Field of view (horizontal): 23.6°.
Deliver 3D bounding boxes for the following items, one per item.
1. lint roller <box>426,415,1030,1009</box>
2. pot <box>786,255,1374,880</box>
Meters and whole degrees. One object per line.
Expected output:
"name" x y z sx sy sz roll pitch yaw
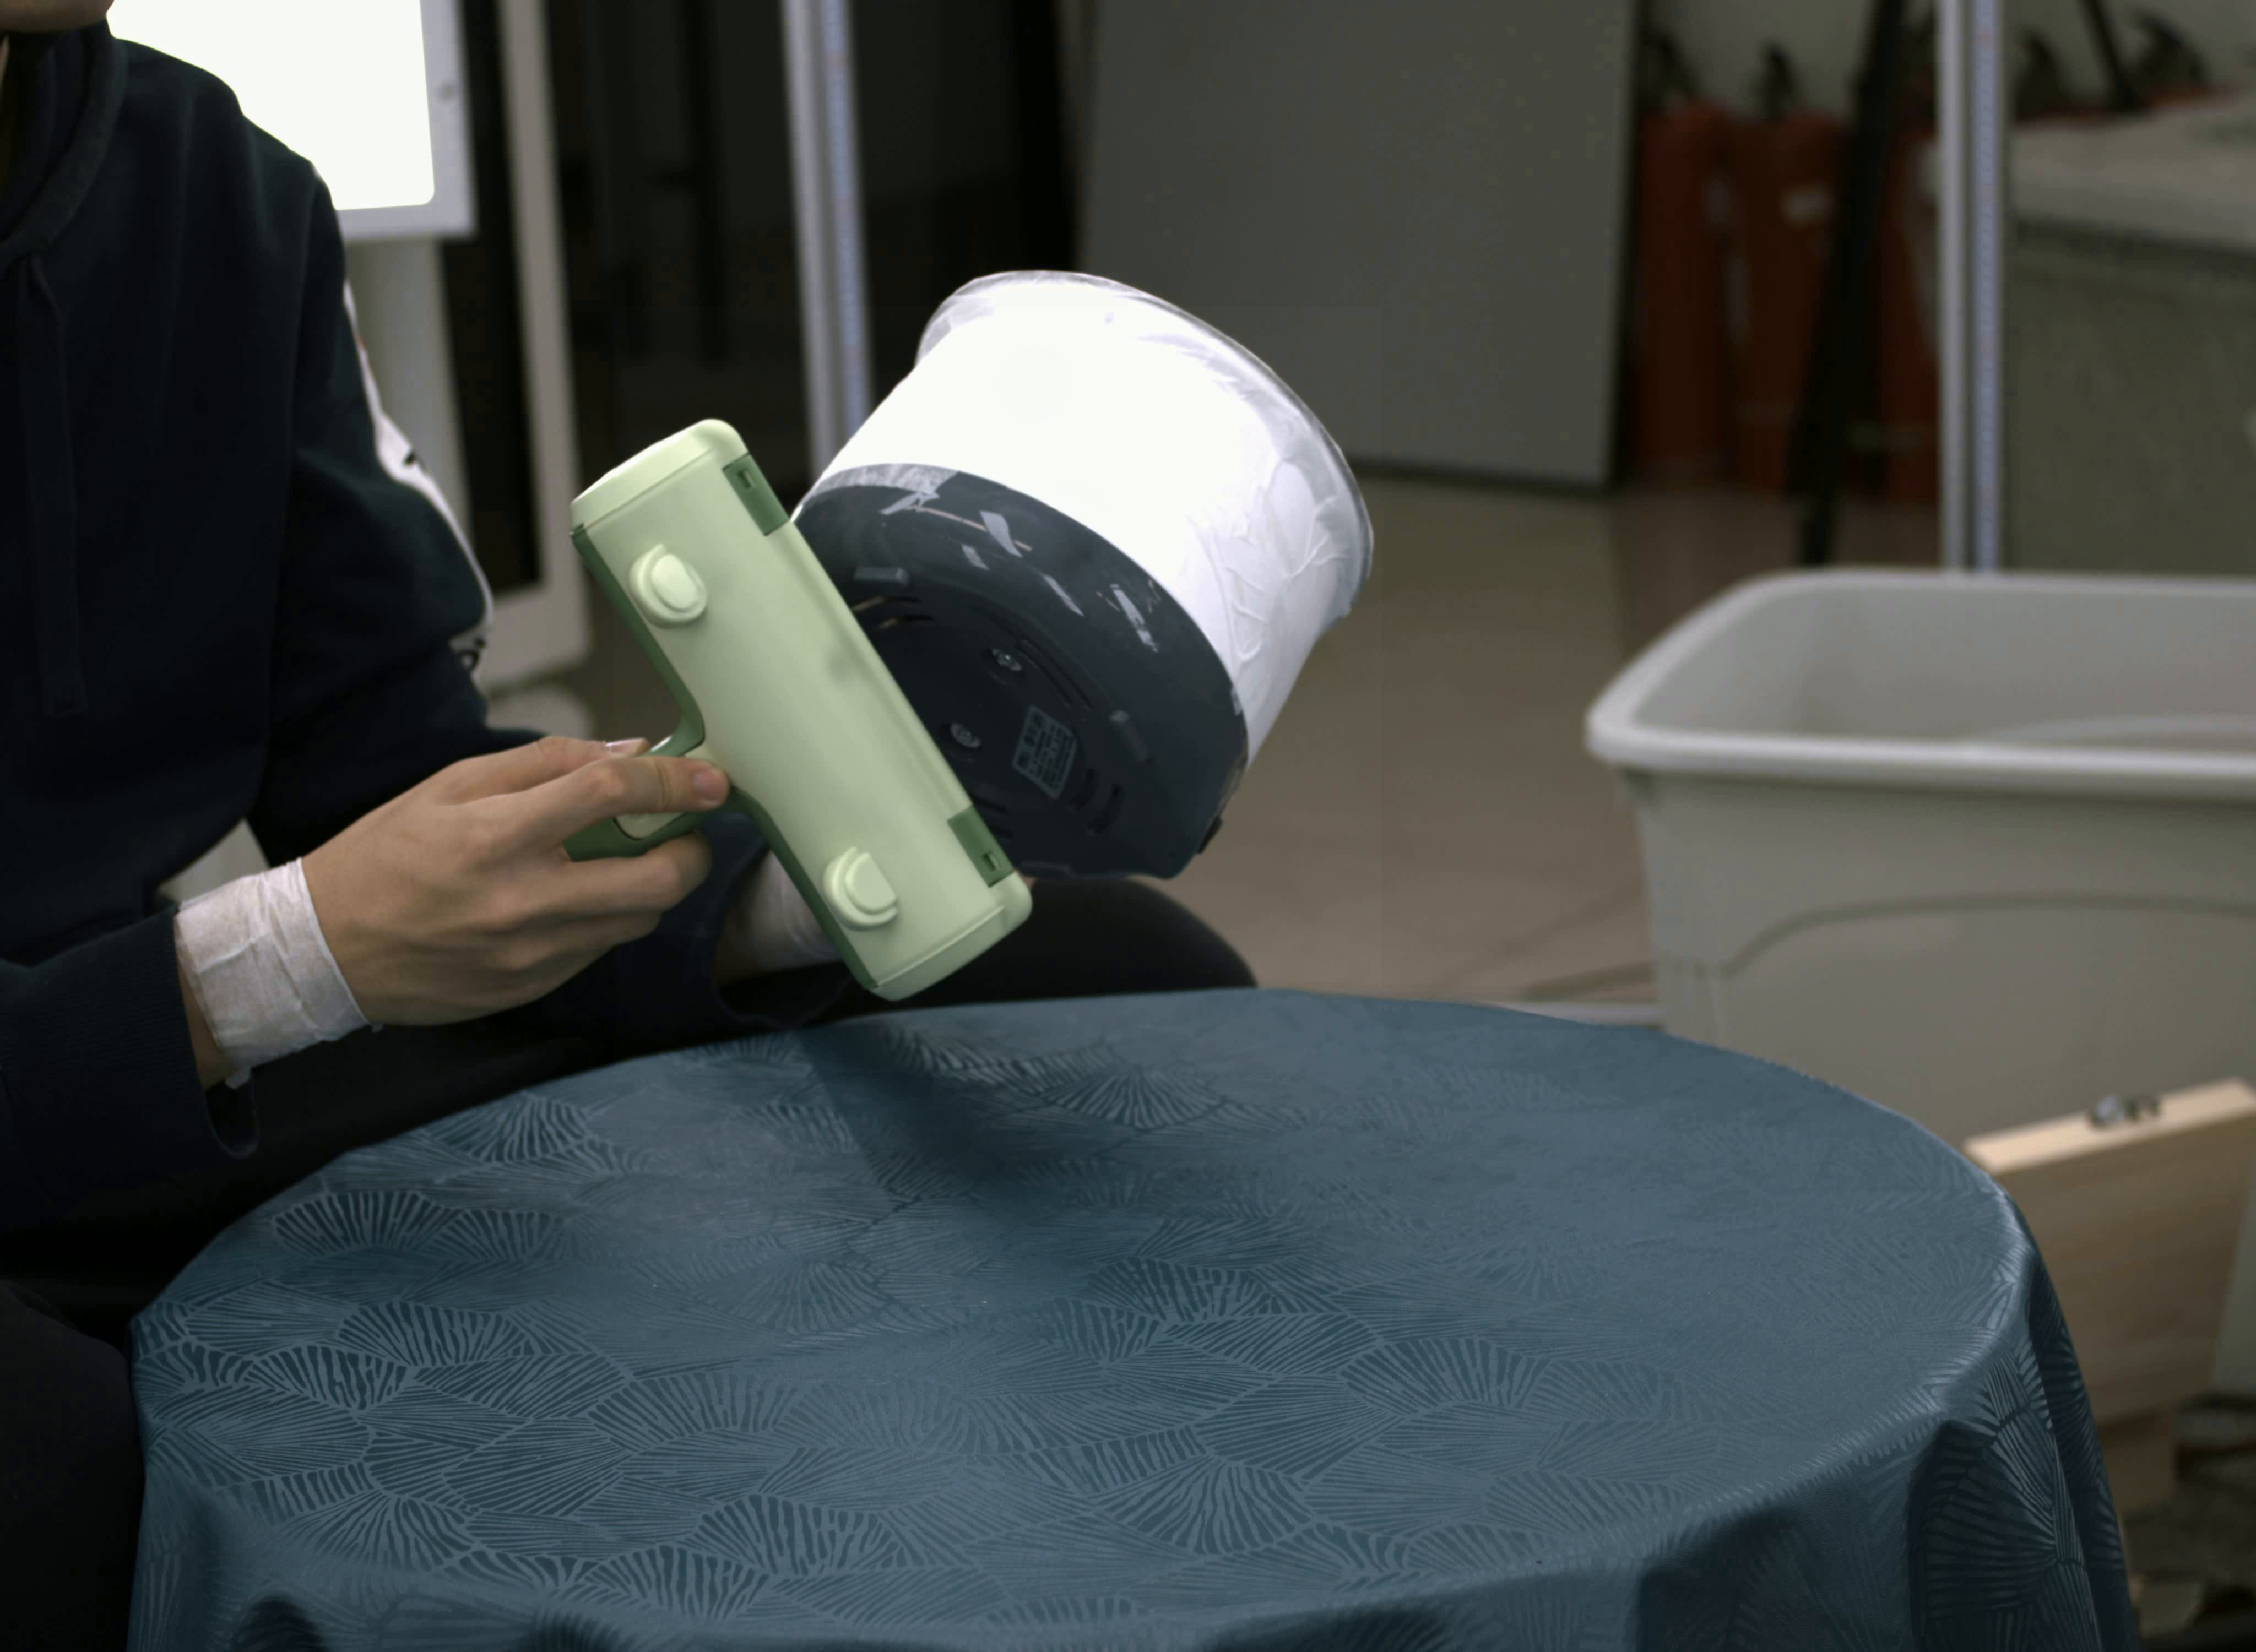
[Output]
"lint roller" -0.155 -0.005 1.759 0.183 0.199 0.082 -32 5 6
"pot" -0.031 -0.069 1.843 0.178 0.235 0.136 34 58 2
